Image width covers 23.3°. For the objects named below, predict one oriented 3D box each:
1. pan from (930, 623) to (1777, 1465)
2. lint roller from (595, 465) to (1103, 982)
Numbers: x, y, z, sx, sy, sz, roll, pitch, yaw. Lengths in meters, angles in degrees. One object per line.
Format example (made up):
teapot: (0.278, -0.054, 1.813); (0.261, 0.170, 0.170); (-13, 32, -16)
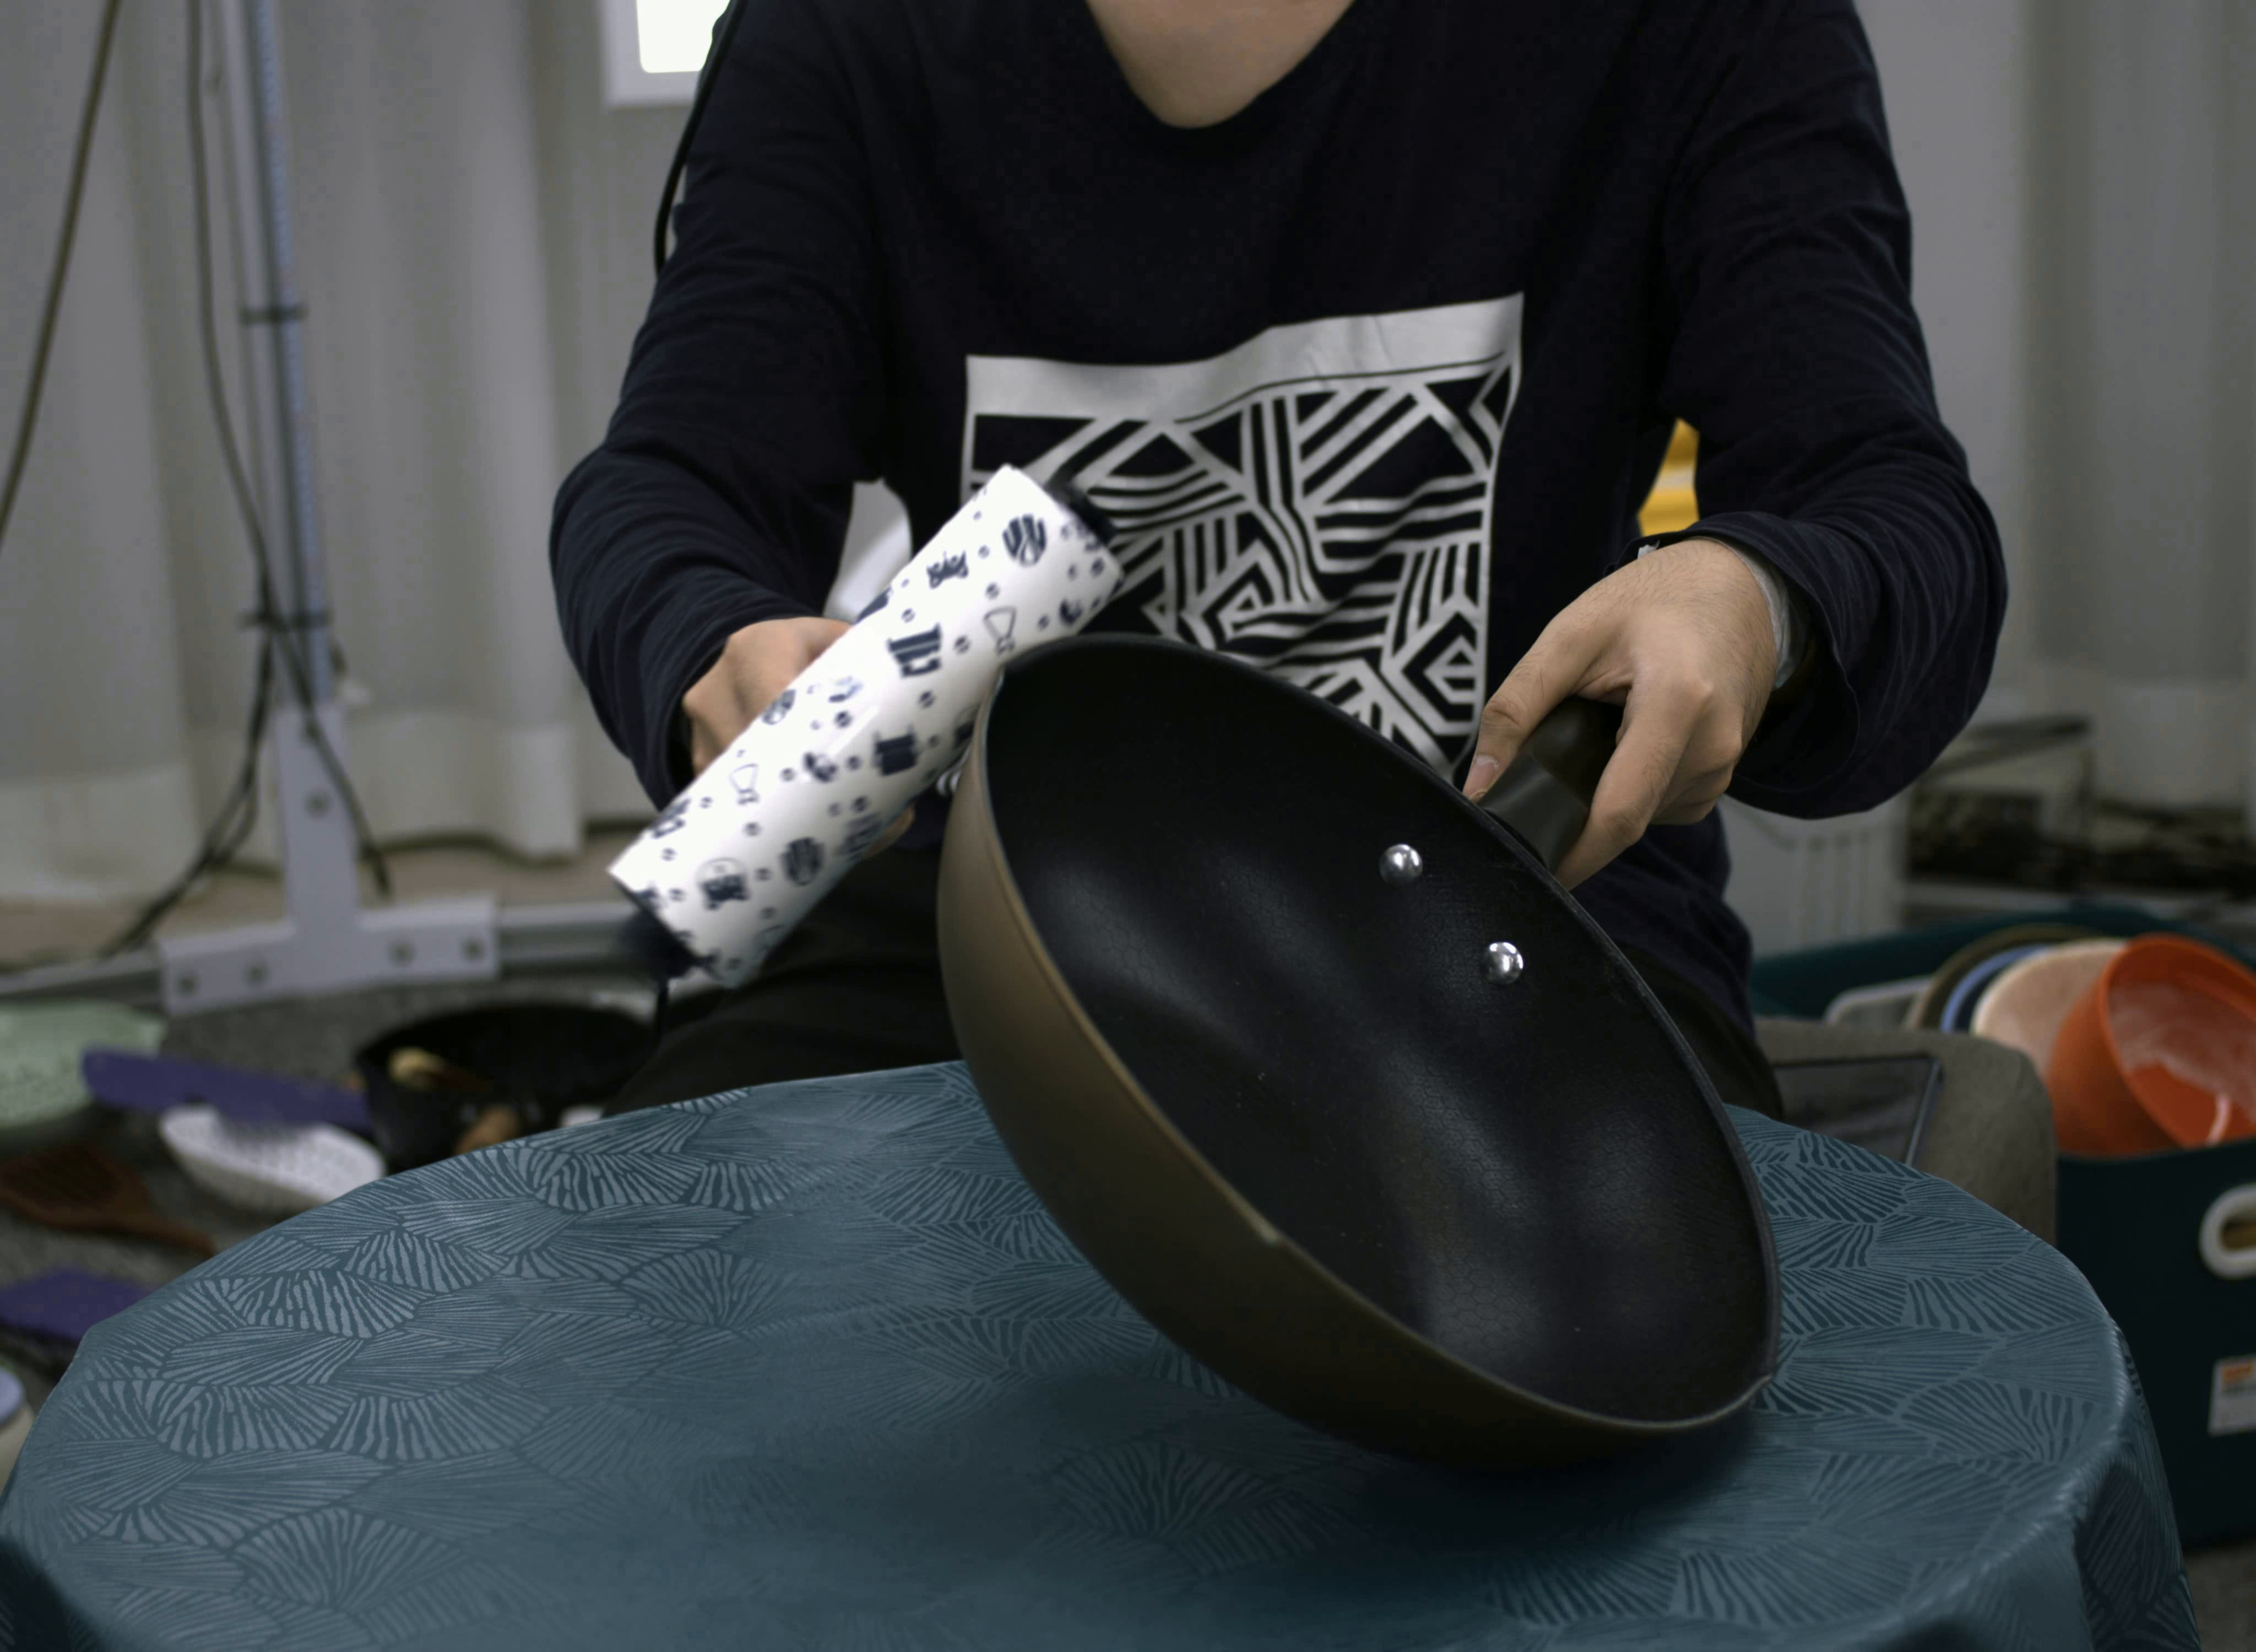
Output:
pan: (0.075, 0.045, 1.582); (0.288, 0.086, 0.465); (43, 26, 1)
lint roller: (-0.088, -0.023, 1.626); (0.176, 0.050, 0.247); (-46, 3, -7)
